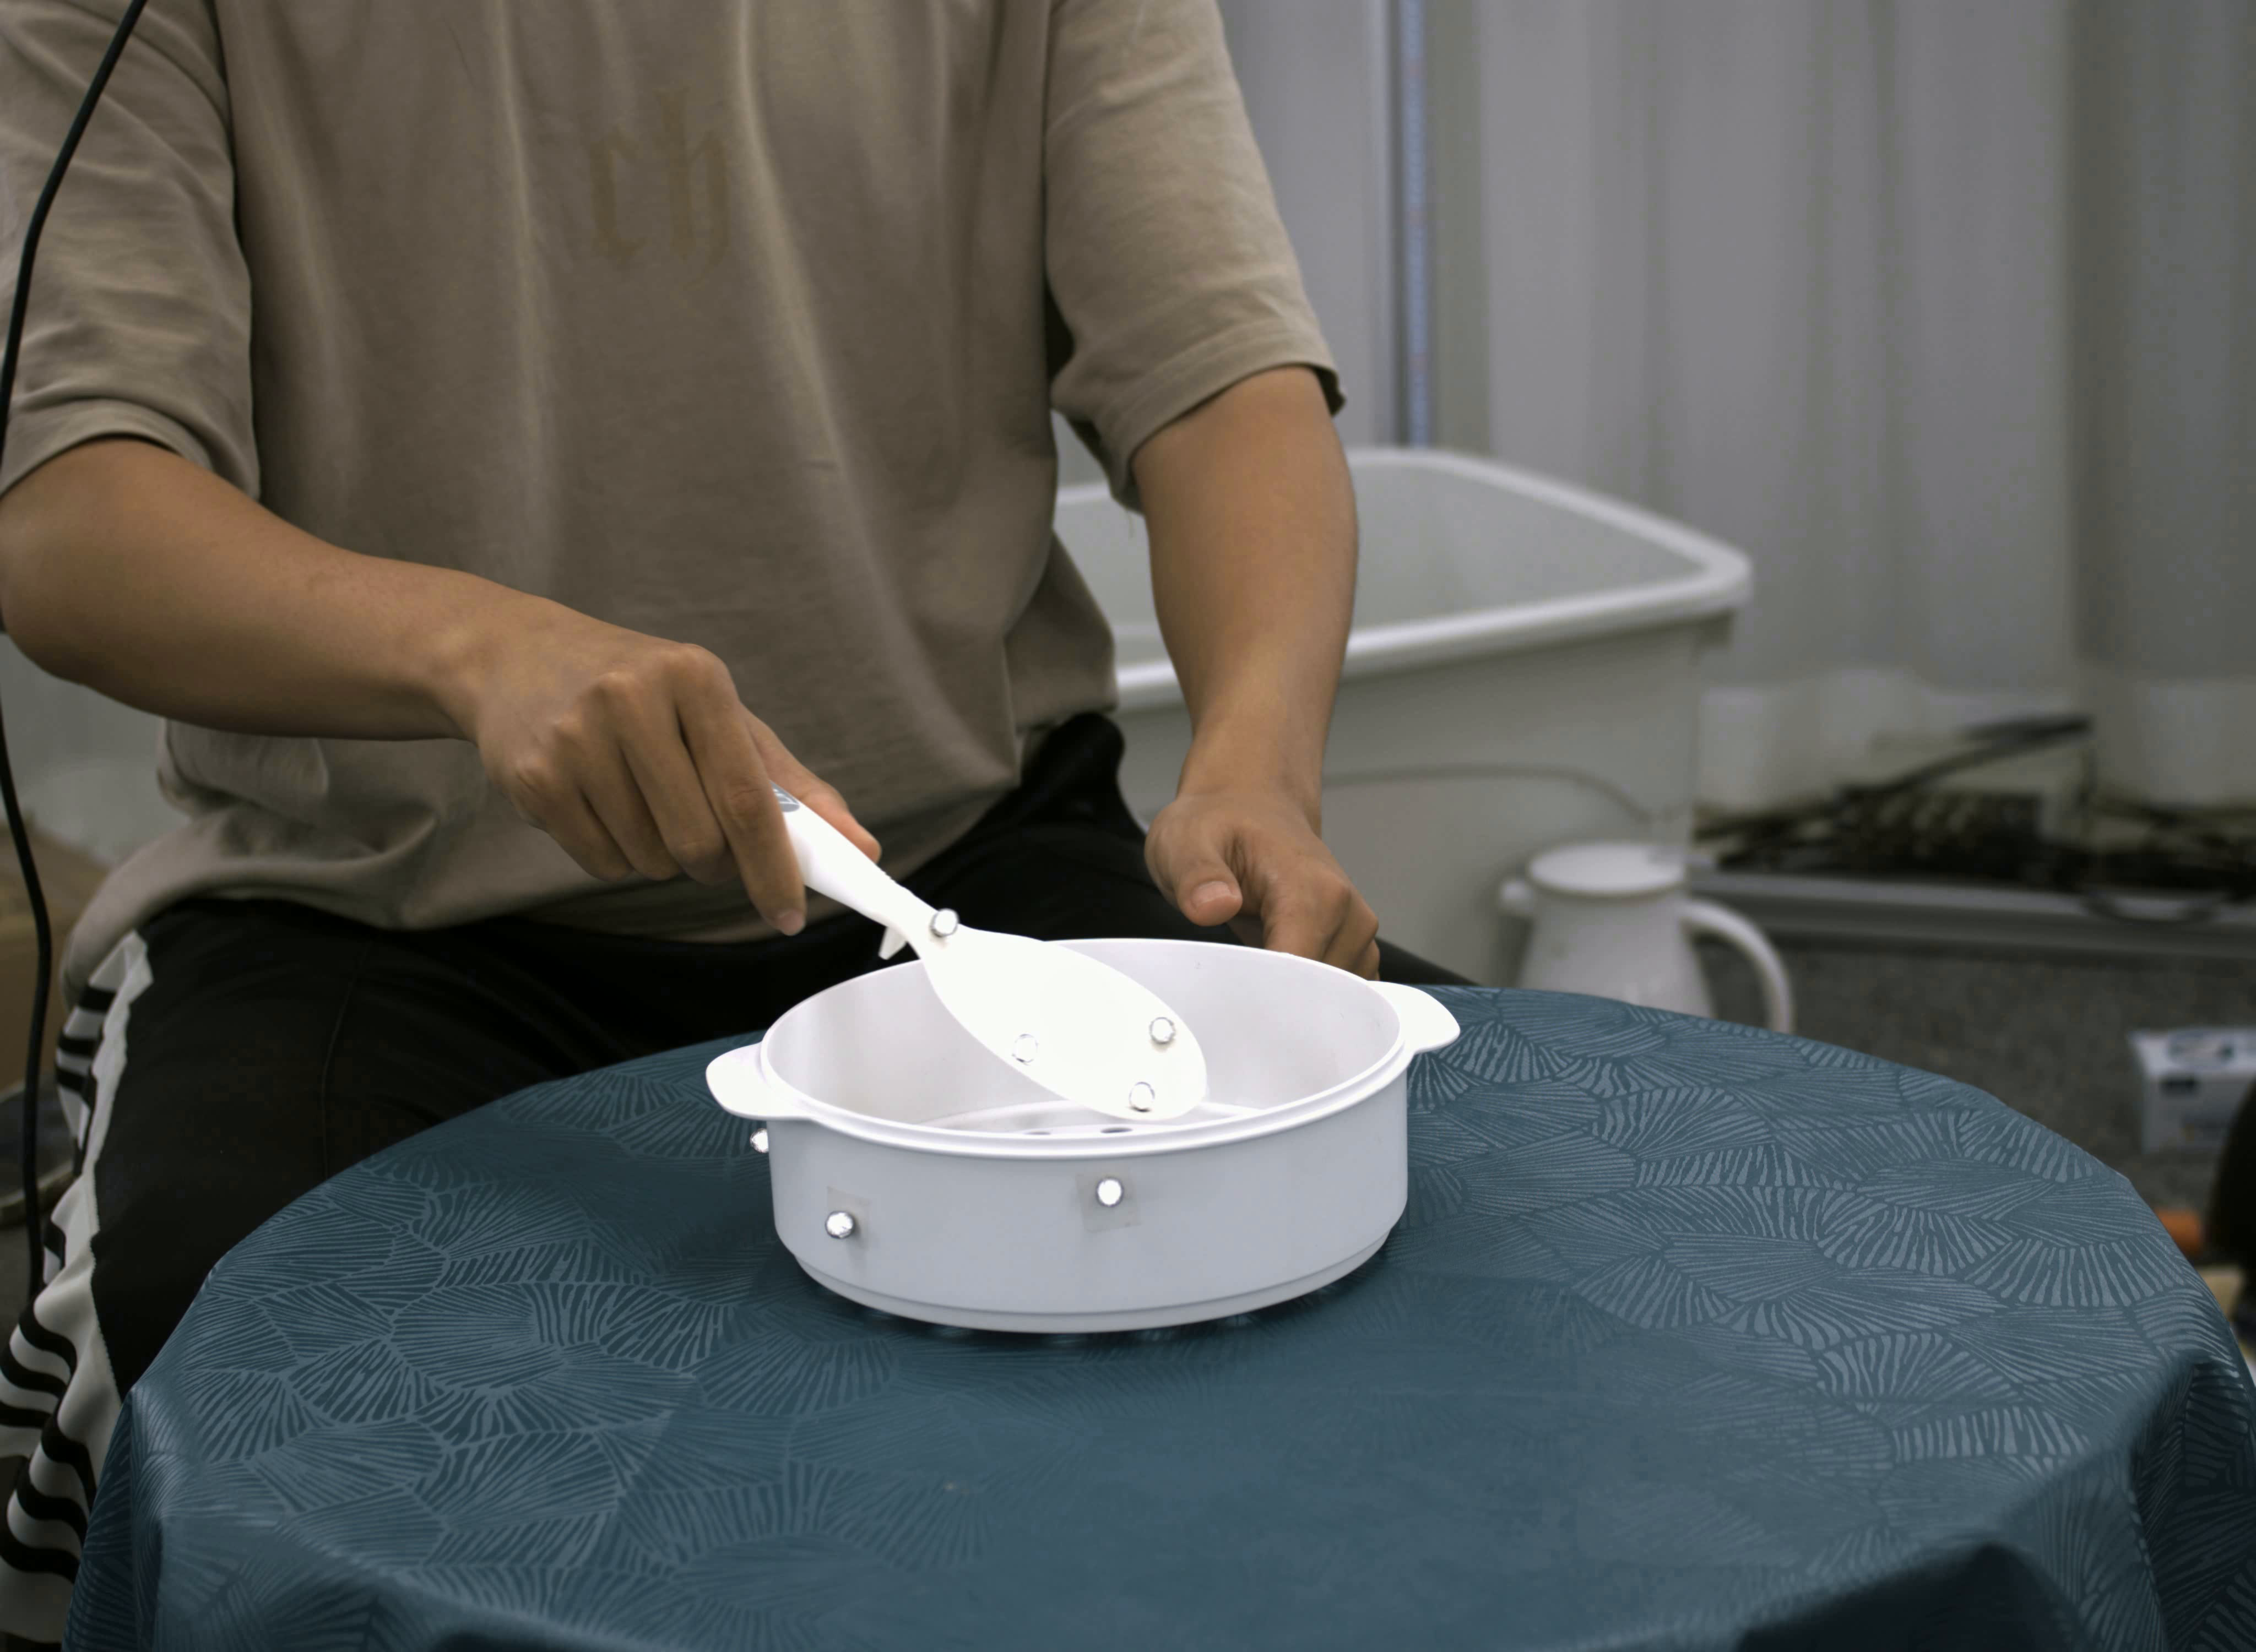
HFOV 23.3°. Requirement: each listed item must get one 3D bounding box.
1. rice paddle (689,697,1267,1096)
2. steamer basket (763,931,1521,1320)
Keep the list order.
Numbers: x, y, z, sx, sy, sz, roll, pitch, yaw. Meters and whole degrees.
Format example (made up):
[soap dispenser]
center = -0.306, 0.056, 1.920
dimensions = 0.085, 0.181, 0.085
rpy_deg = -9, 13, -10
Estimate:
[rice paddle]
center = -0.044, 0.023, 1.685
dimensions = 0.206, 0.029, 0.069
rpy_deg = 32, 35, 16
[steamer basket]
center = 0.004, 0.091, 1.662
dimensions = 0.229, 0.069, 0.203
rpy_deg = -3, 15, -11
